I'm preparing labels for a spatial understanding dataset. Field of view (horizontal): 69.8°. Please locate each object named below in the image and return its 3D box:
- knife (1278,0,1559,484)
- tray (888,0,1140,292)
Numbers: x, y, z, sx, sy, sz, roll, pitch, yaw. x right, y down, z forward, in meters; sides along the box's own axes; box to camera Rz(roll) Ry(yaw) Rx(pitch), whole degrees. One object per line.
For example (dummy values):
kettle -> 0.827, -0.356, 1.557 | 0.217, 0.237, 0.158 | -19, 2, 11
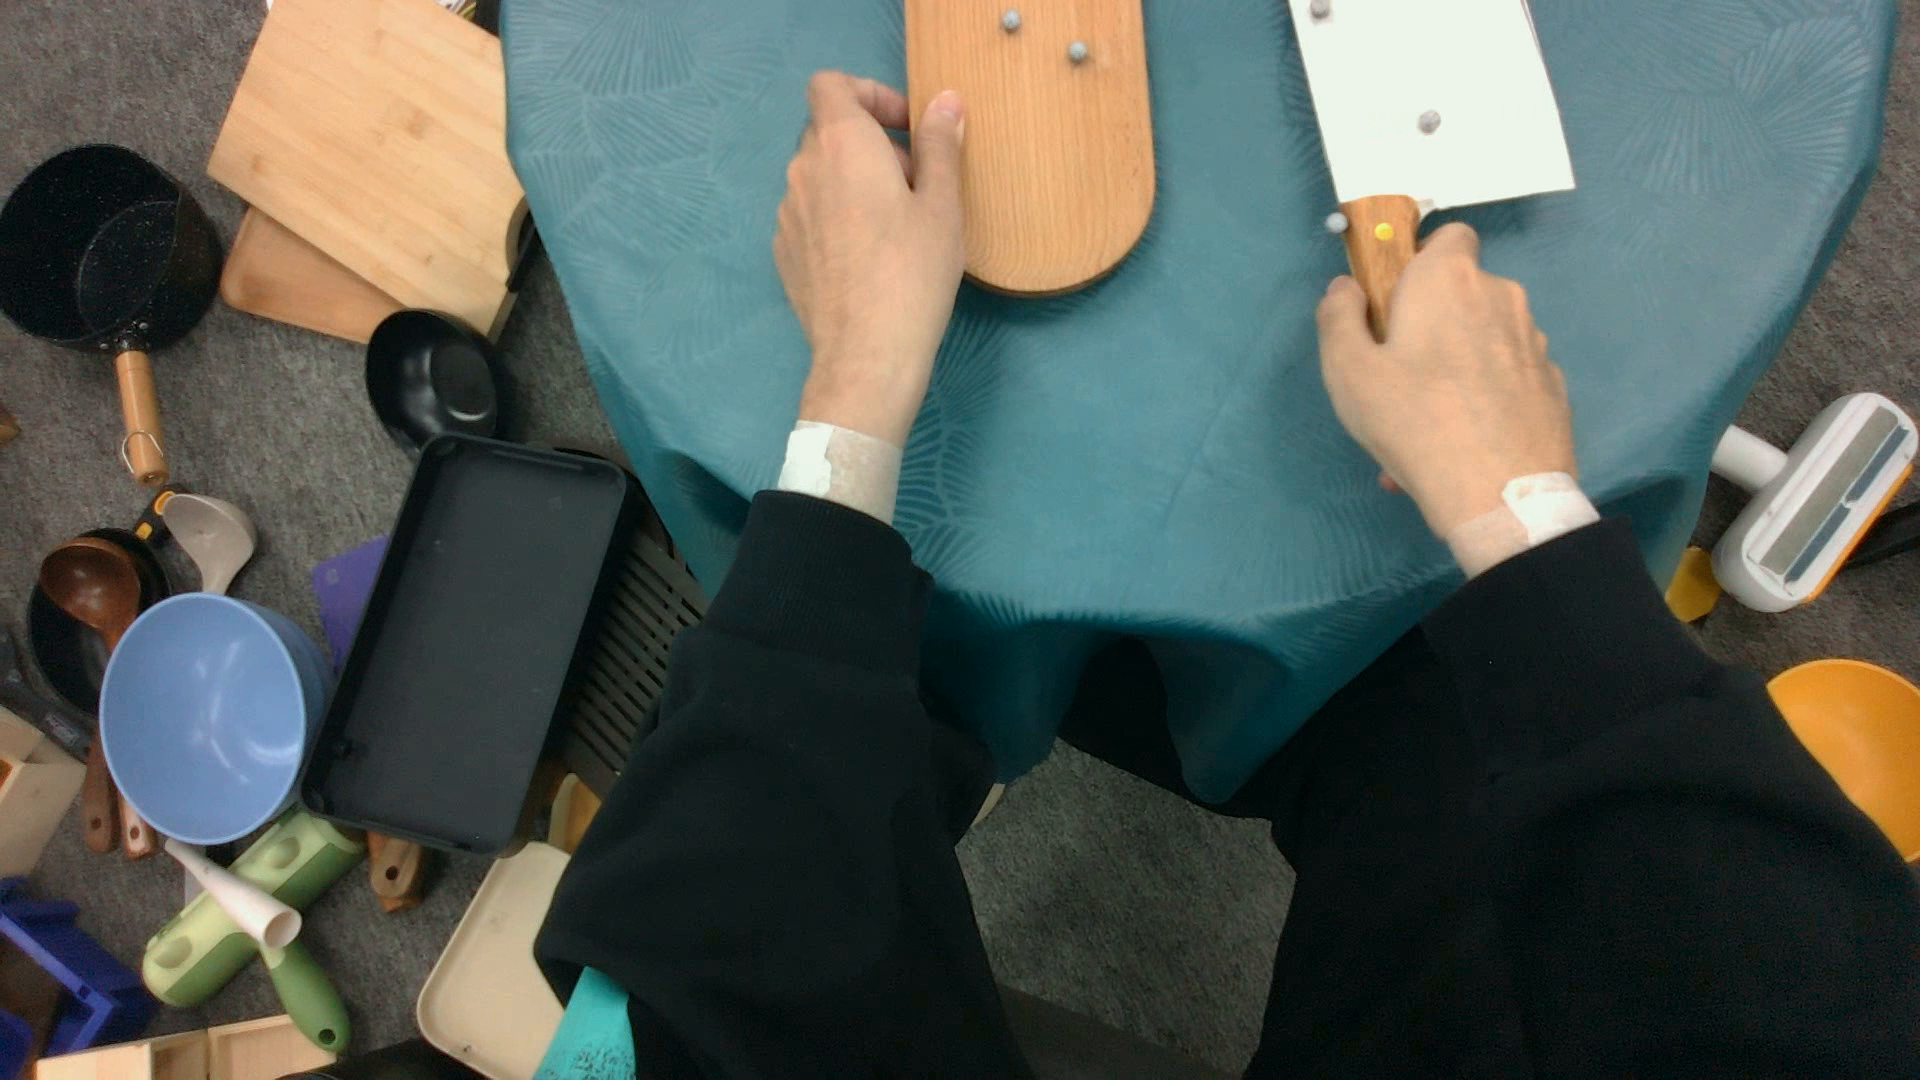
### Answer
knife -> 0.186, -0.170, 0.554 | 0.093, 0.021, 0.306 | -9, 70, 3
tray -> 0.021, -0.212, 0.589 | 0.101, 0.020, 0.231 | -3, 76, 1
